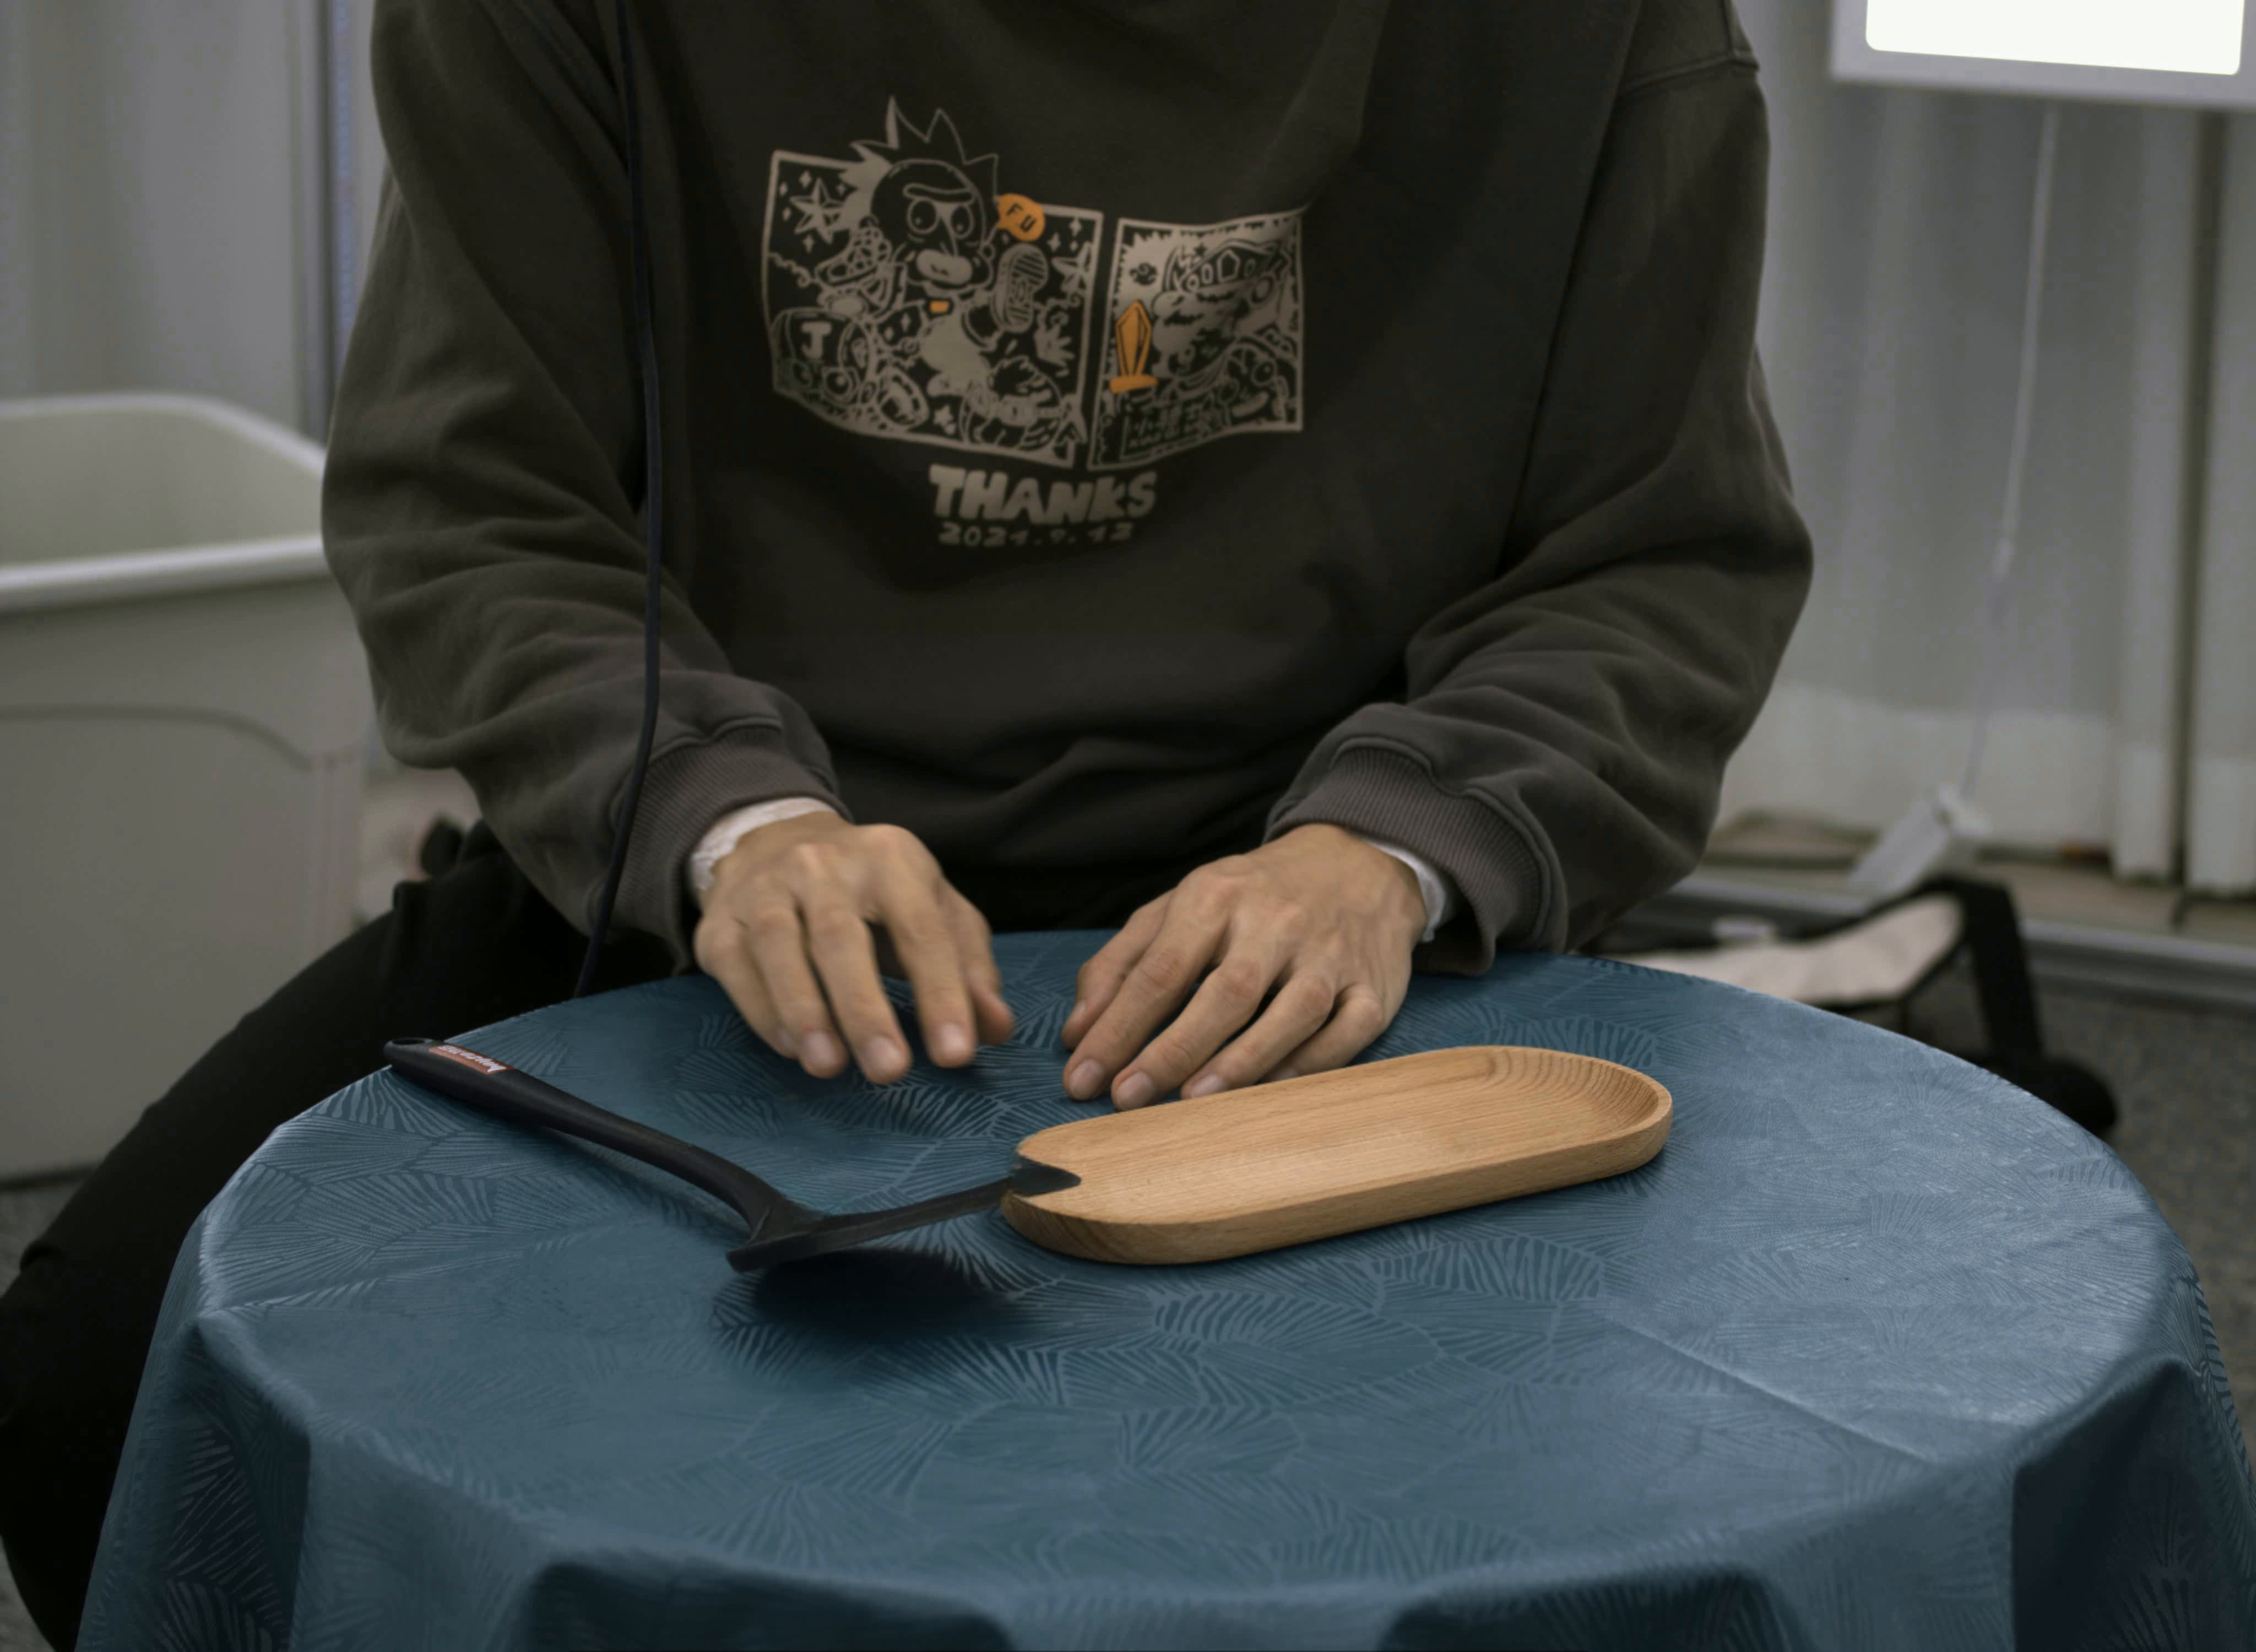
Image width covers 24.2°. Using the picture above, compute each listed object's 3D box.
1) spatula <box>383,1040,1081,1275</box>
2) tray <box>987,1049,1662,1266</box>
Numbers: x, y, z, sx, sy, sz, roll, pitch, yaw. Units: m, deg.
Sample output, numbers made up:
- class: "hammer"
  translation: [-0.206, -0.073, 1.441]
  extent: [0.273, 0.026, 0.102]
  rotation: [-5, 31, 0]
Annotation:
- class: "spatula"
  translation: [-0.145, 0.094, 1.623]
  extent: [0.100, 0.040, 0.322]
  rotation: [-10, 19, -37]
- class: "tray"
  translation: [0.063, 0.103, 1.639]
  extent: [0.232, 0.020, 0.100]
  rotation: [-10, 18, -31]
